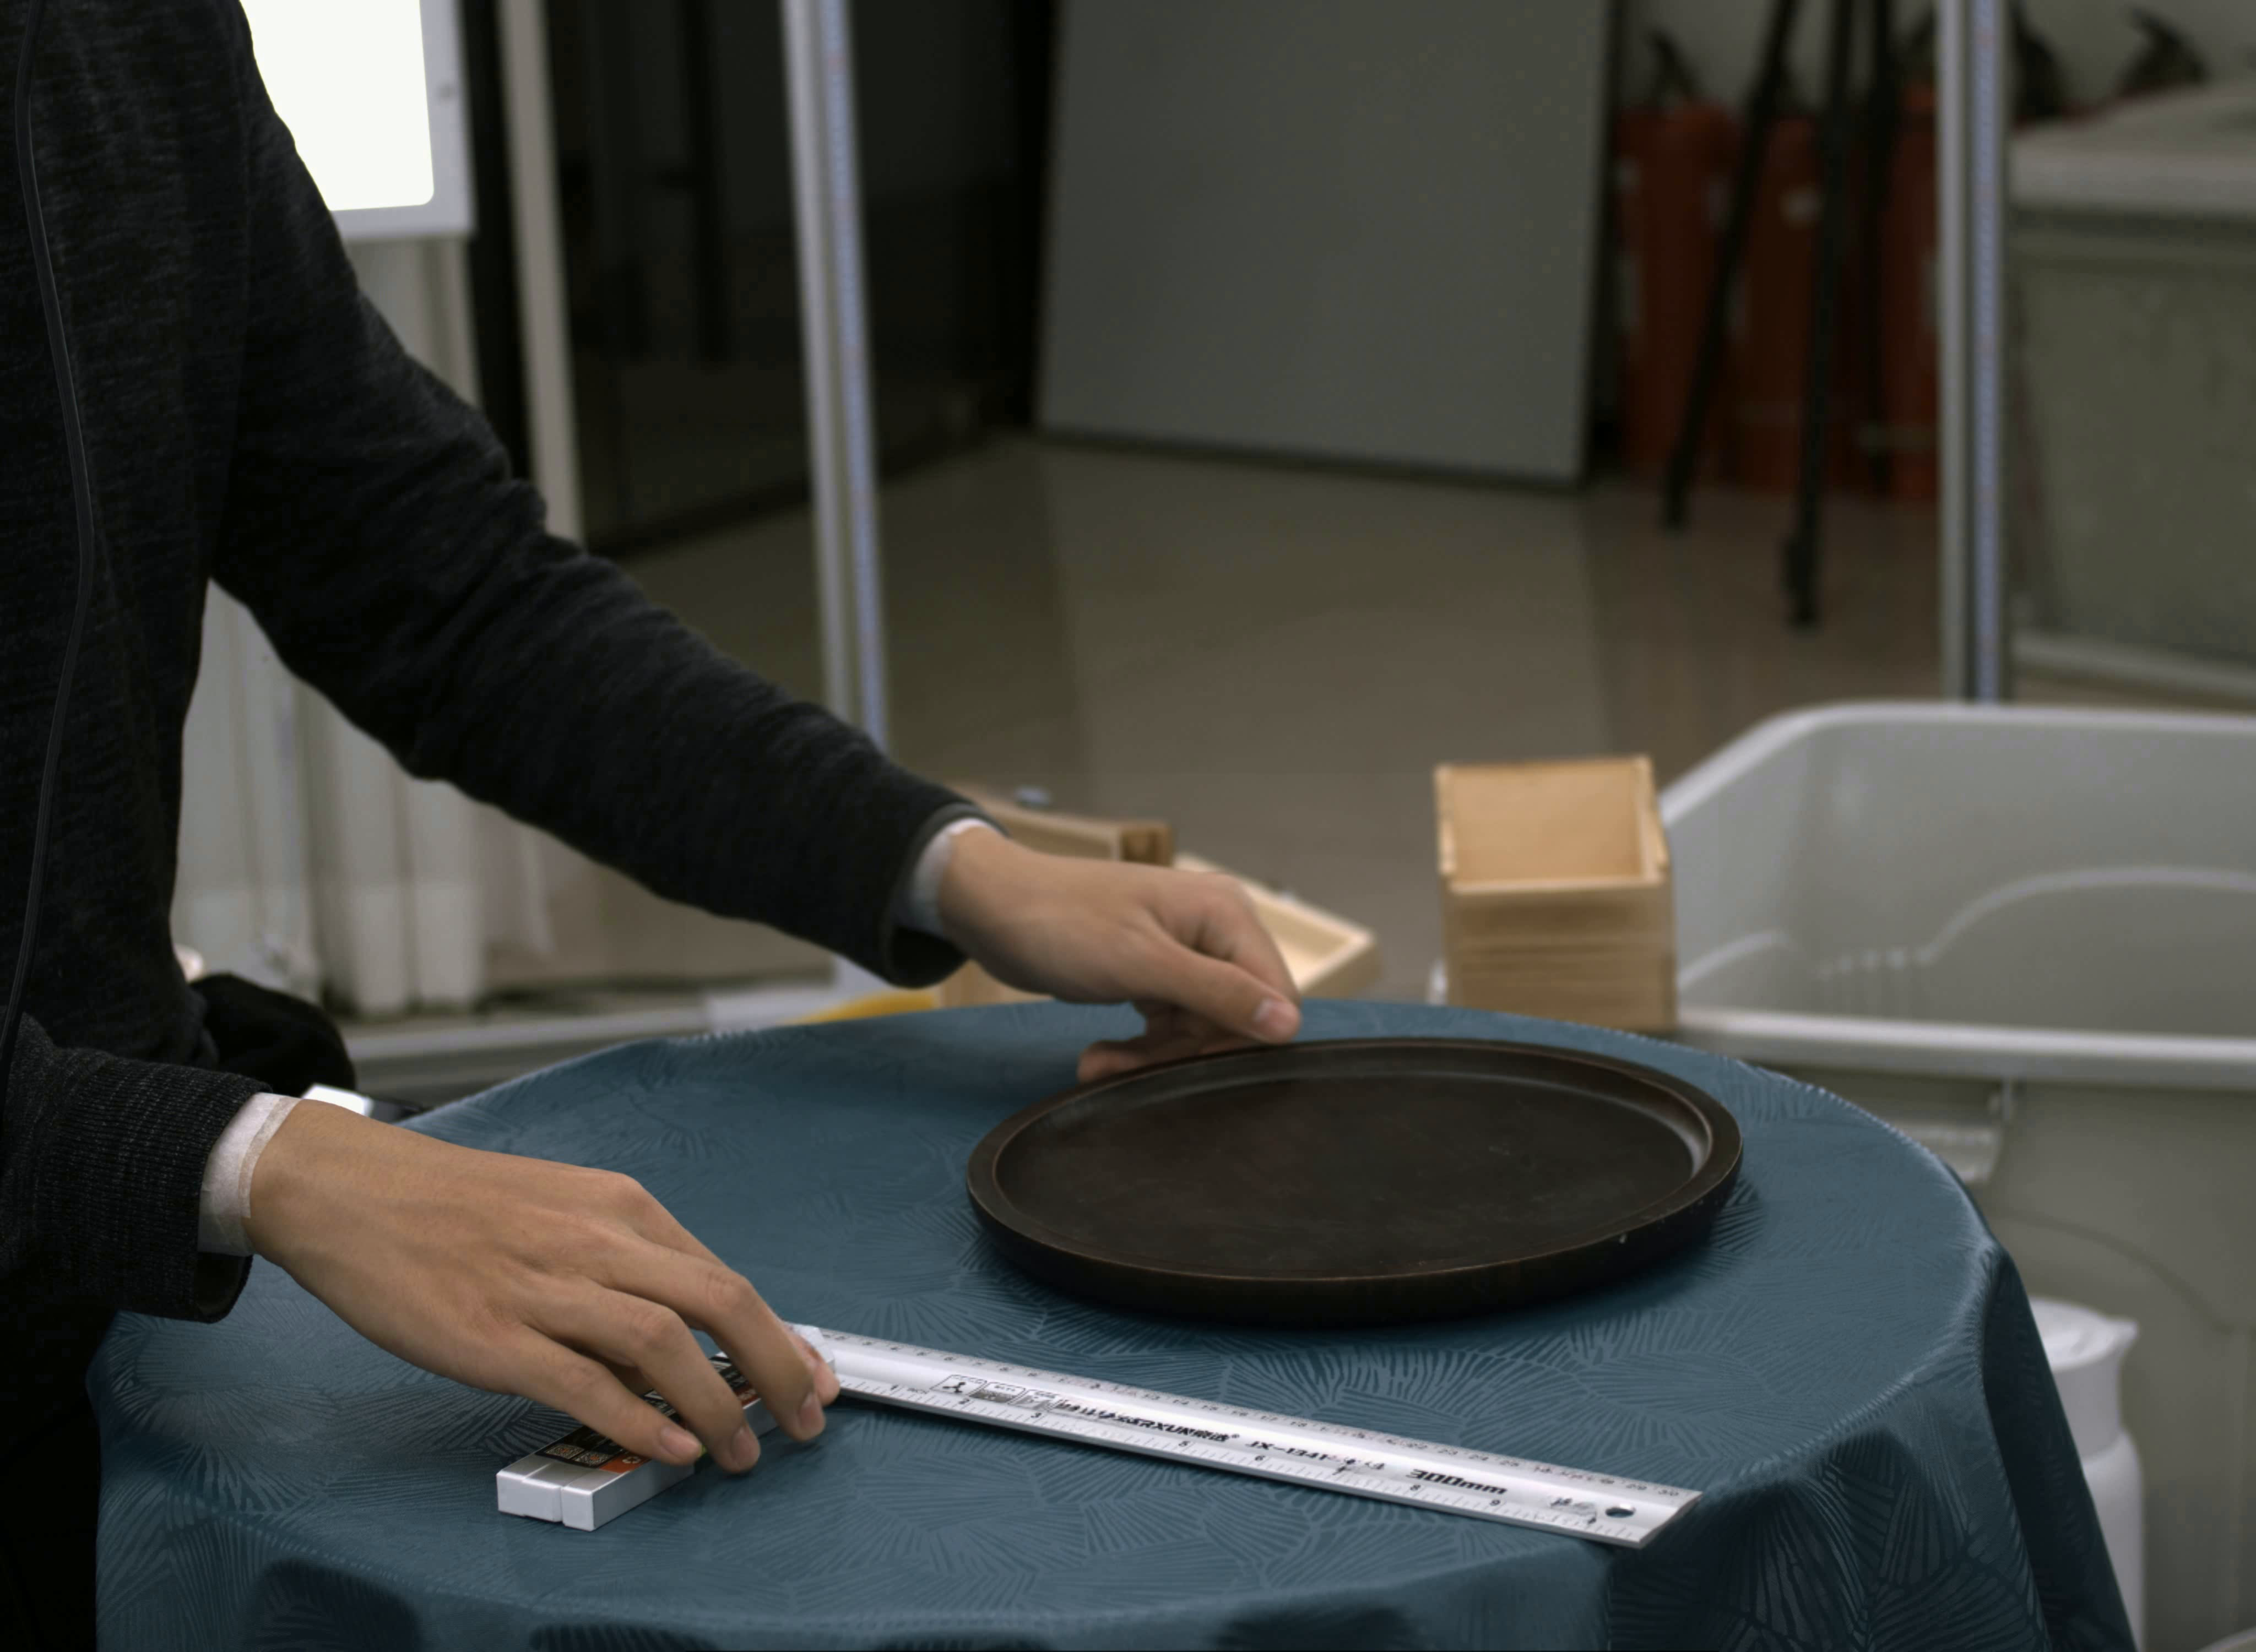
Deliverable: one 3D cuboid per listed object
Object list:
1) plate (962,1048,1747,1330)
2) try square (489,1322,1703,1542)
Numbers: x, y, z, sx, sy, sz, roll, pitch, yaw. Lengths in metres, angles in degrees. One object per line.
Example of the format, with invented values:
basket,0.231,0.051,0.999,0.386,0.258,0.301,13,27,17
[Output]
plate,0.073,0.113,1.730,0.251,0.029,0.255,-3,14,0
try square,-0.012,0.185,1.497,0.314,0.016,0.150,6,18,33
